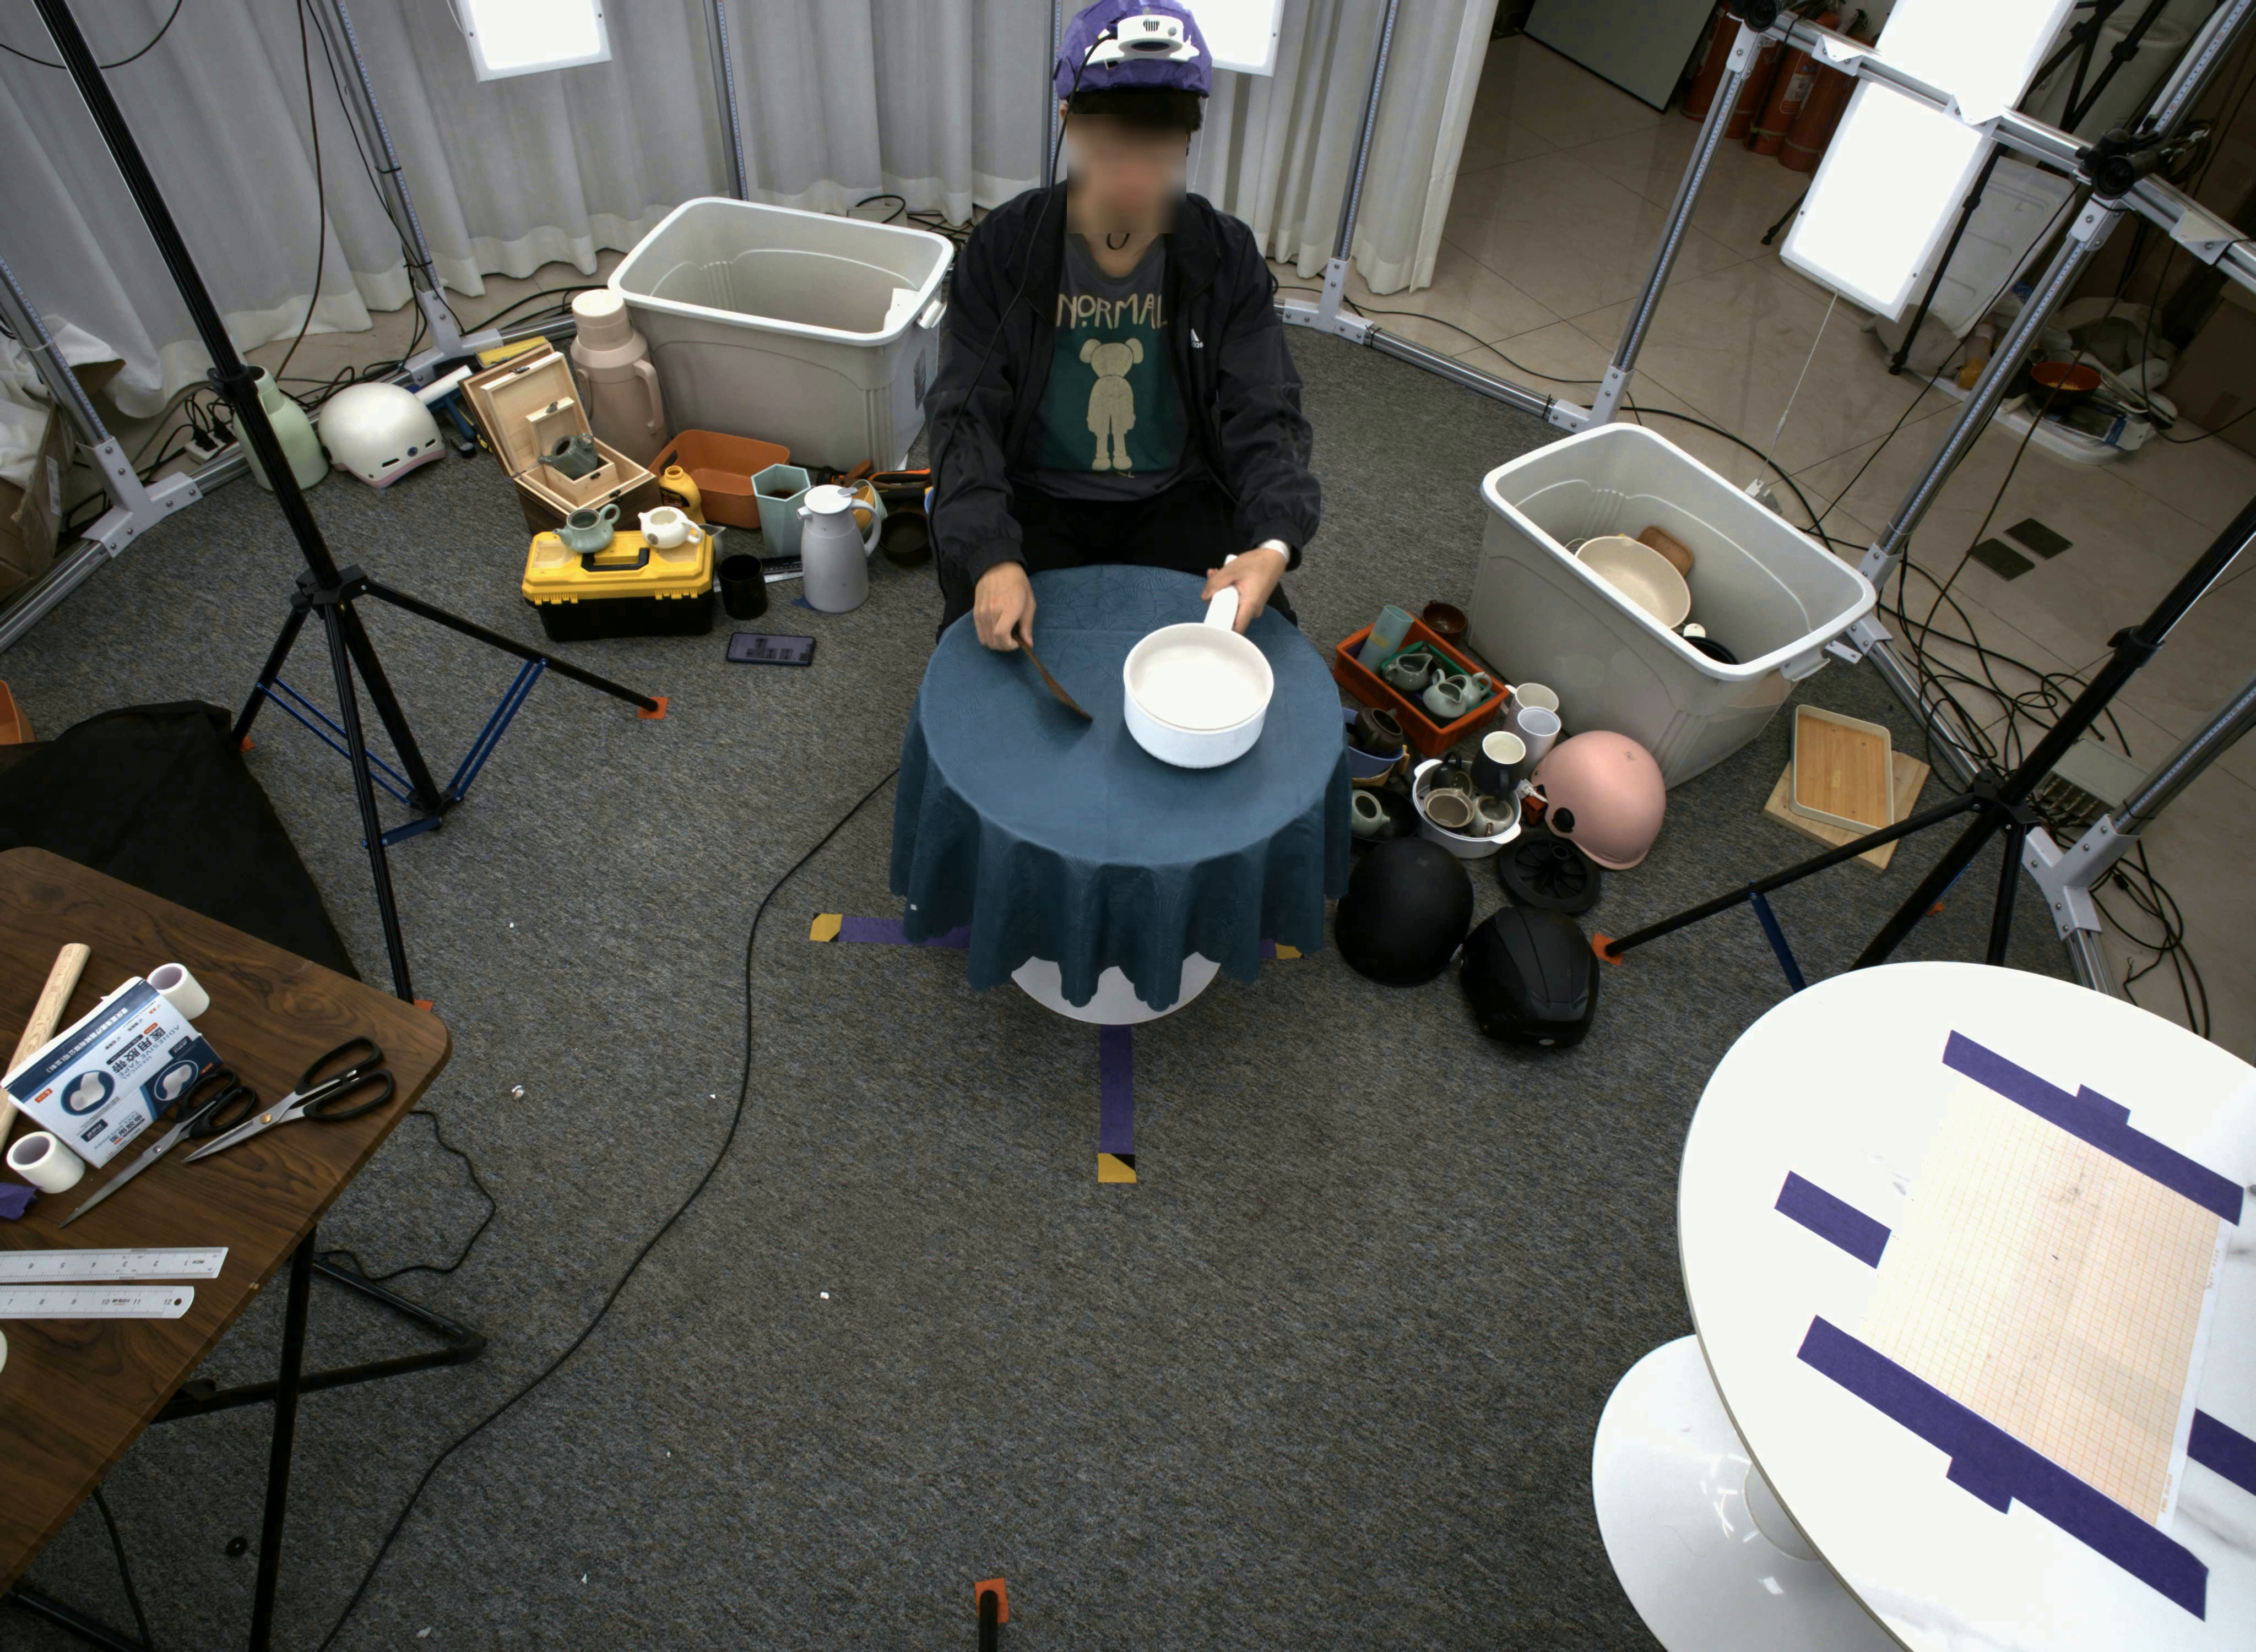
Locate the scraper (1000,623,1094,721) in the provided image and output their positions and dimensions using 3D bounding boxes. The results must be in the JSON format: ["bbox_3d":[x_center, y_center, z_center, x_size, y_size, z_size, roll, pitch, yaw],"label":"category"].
[{"bbox_3d":[-0.120,-0.221,1.810,0.011,0.074,0.215,-44,59,5],"label":"scraper"}]

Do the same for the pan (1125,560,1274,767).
[{"bbox_3d":[0.116,-0.229,1.805,0.202,0.099,0.362,14,50,9],"label":"pan"}]
